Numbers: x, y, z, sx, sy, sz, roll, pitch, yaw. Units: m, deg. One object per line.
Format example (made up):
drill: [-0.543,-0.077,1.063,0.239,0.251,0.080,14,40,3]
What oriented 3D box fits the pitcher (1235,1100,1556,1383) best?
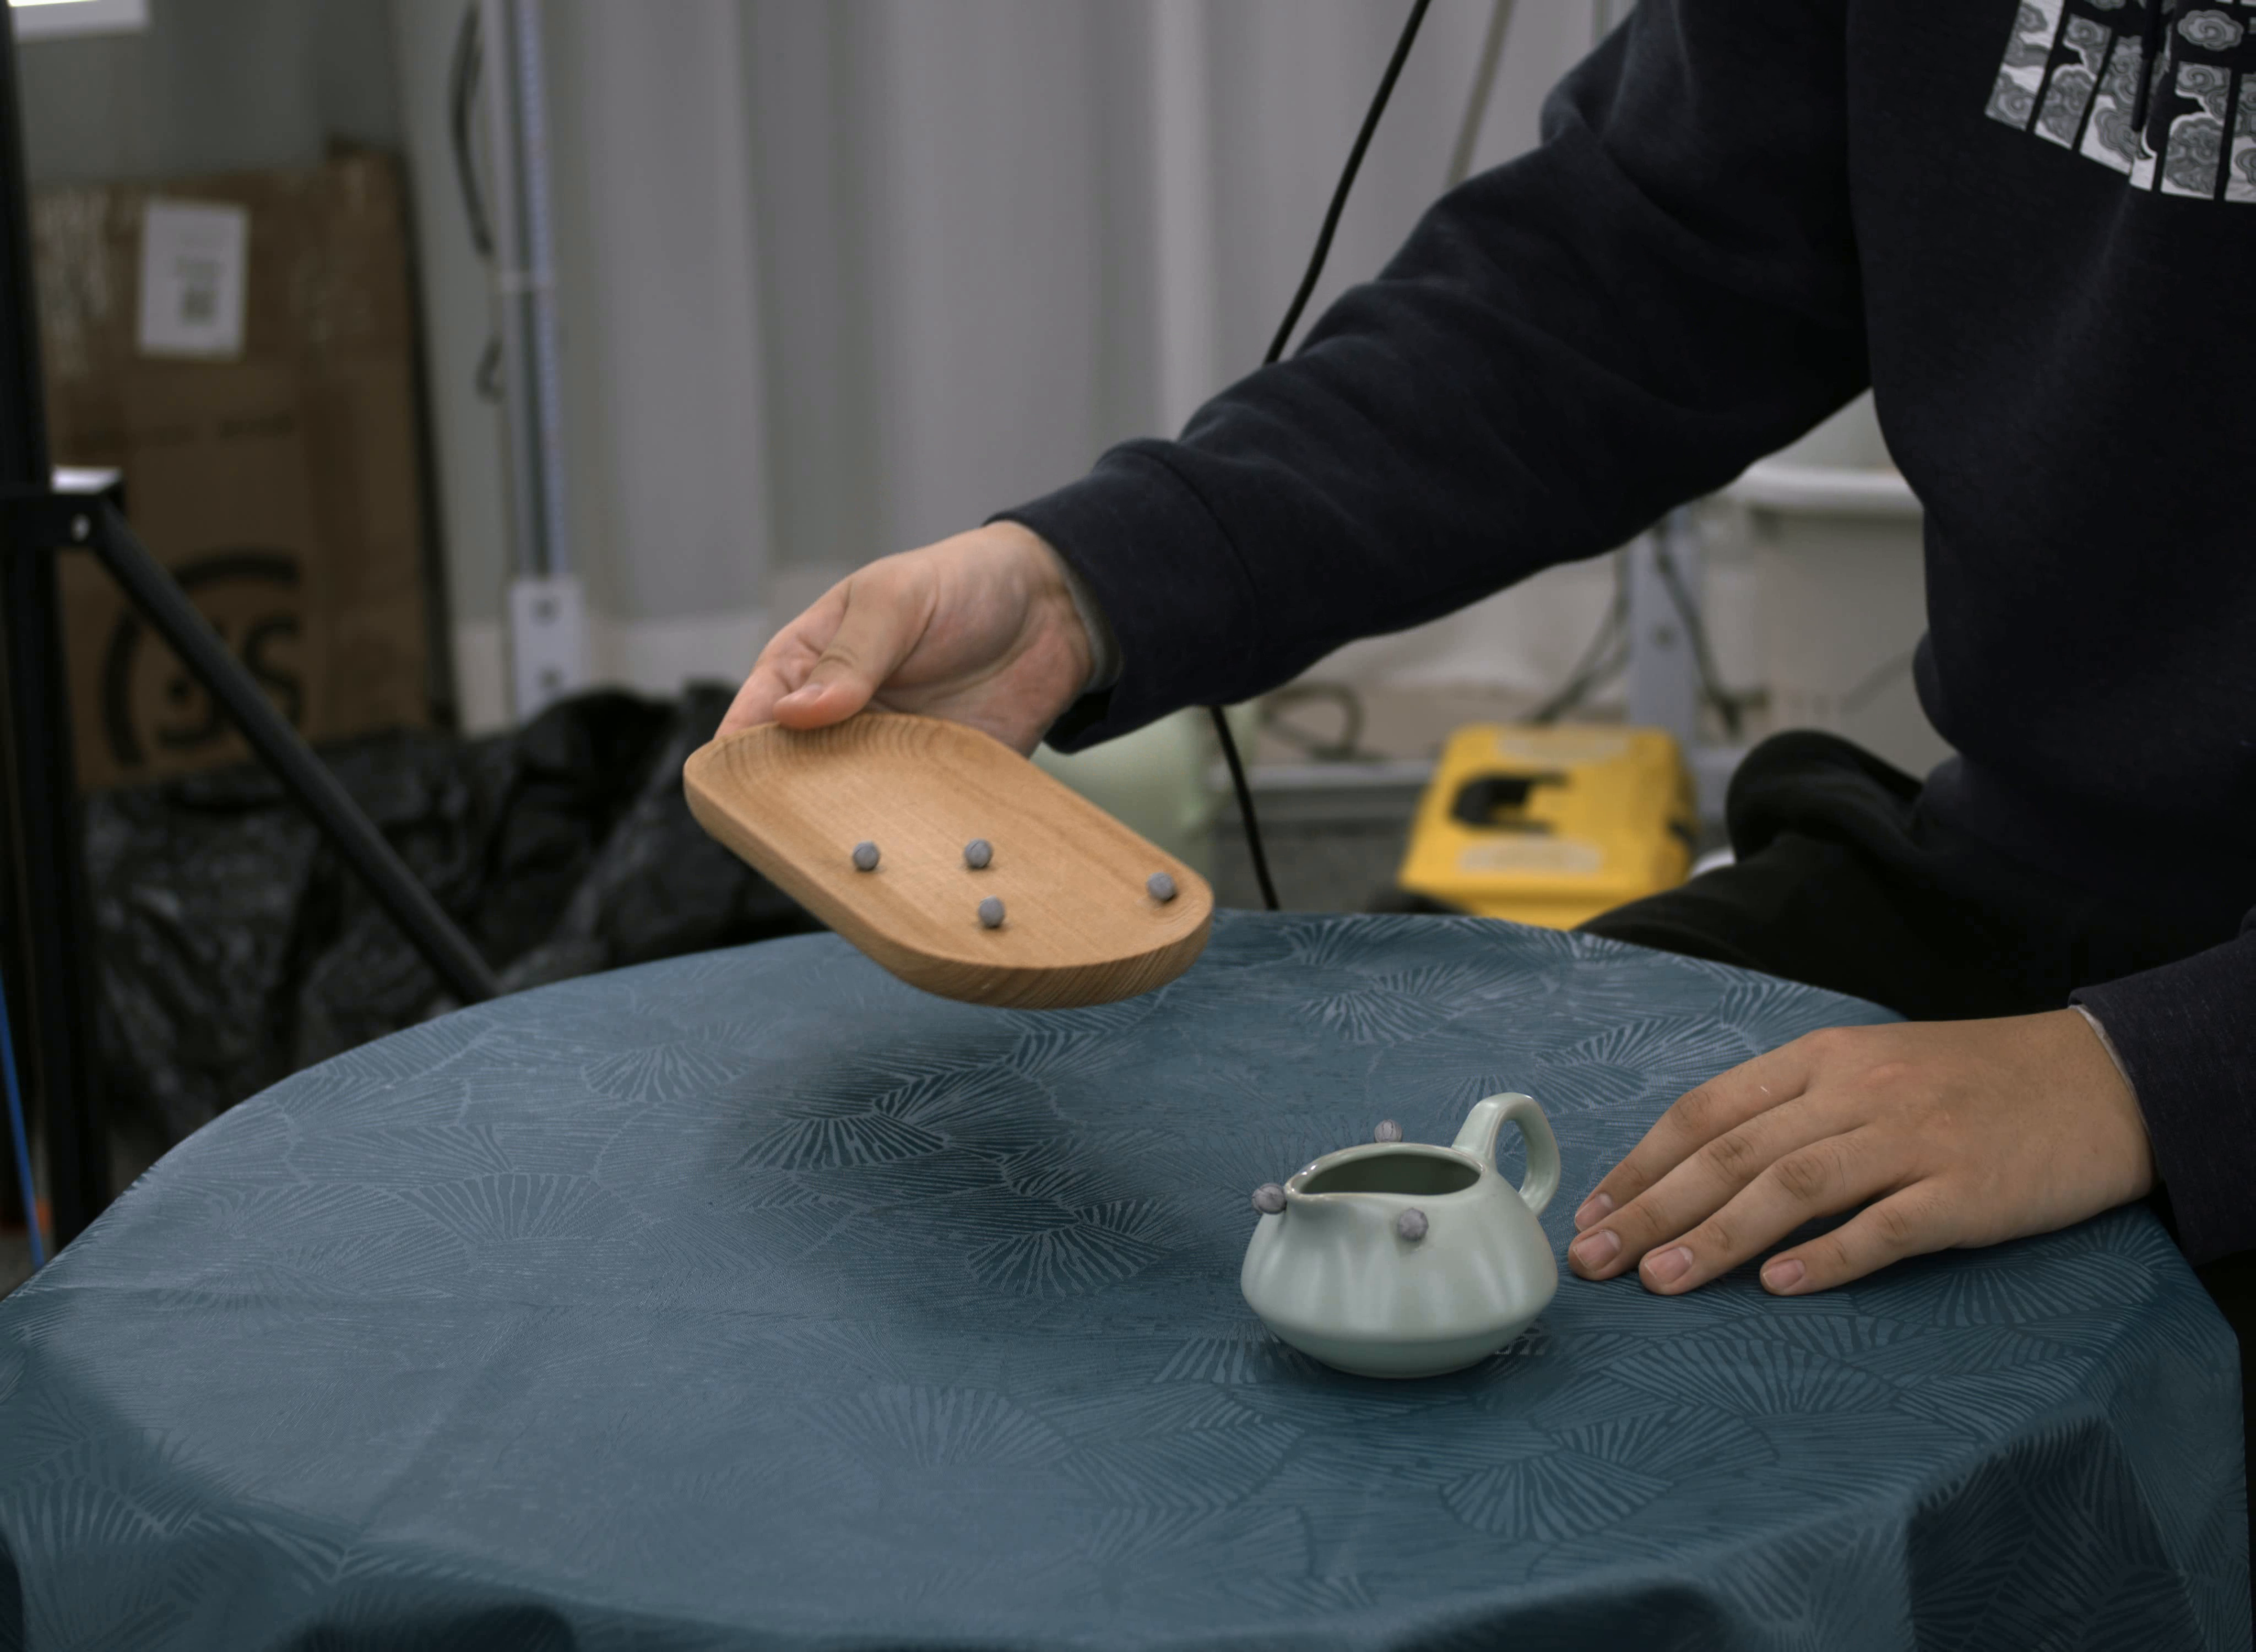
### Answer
pitcher: [0.080,0.112,1.431,0.088,0.060,0.105,13,19,40]

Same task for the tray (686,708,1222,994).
tray: [-0.054,0.005,1.577,0.099,0.020,0.236,-10,20,-25]
